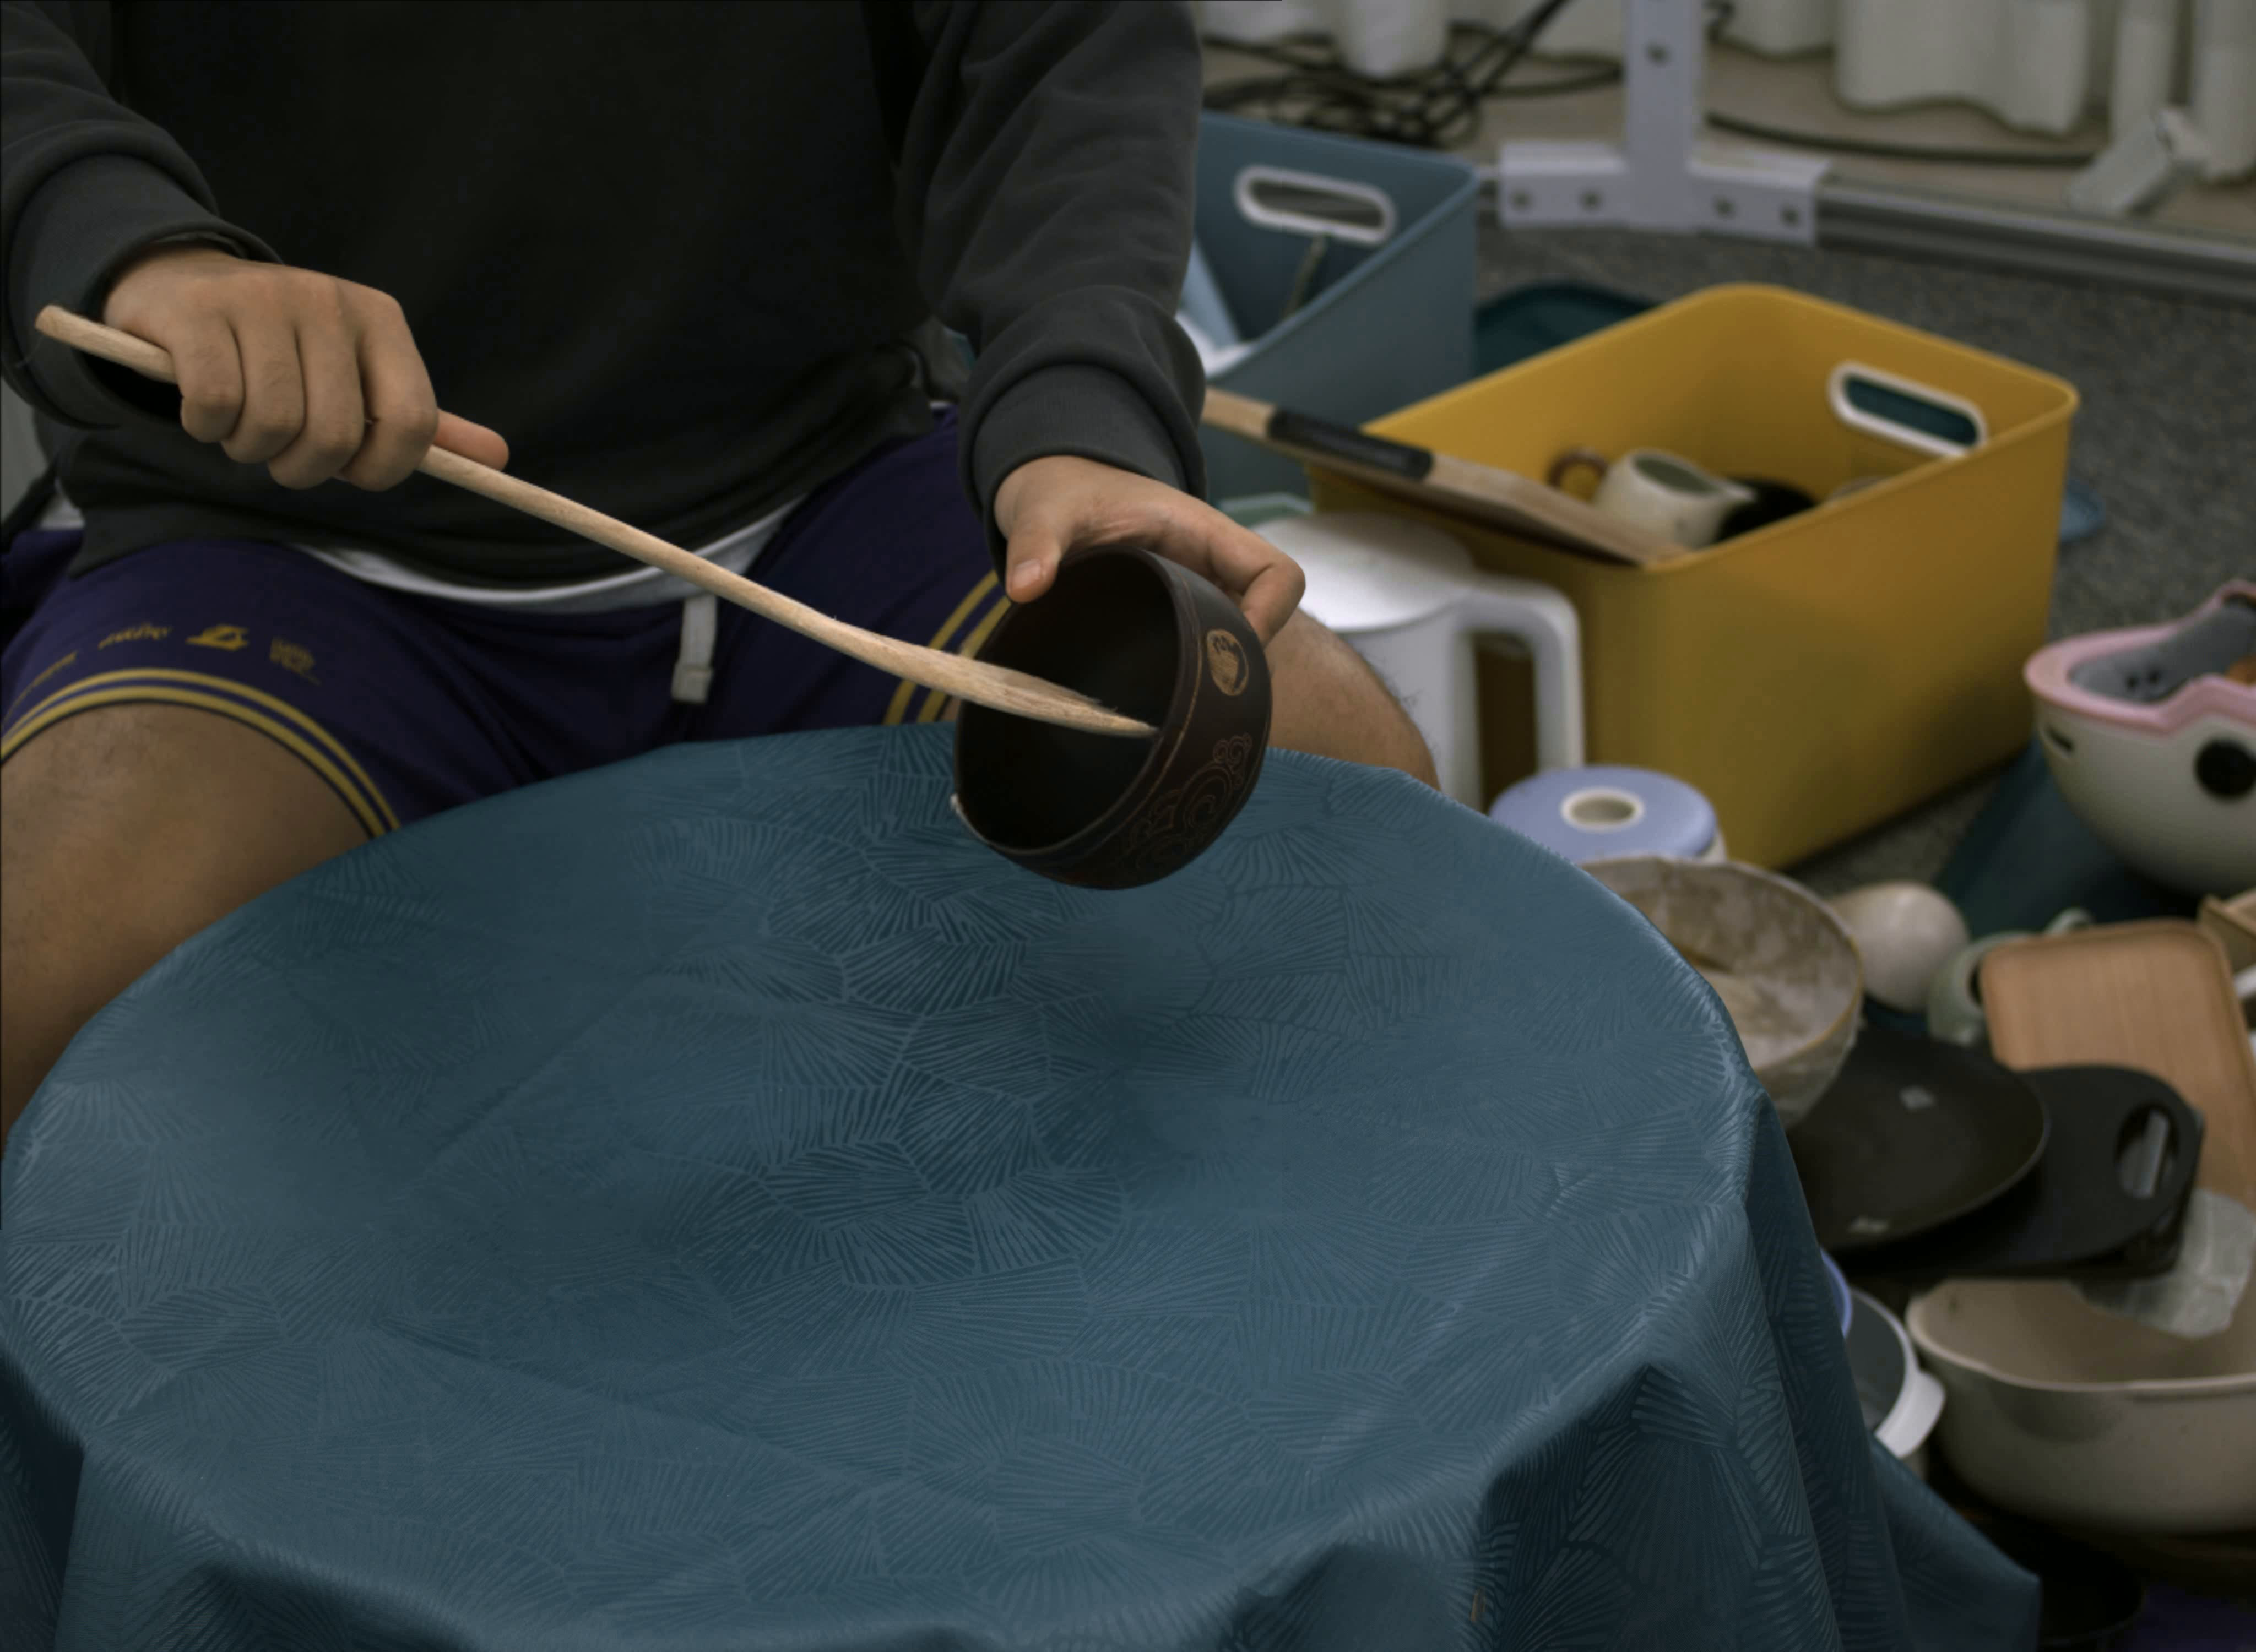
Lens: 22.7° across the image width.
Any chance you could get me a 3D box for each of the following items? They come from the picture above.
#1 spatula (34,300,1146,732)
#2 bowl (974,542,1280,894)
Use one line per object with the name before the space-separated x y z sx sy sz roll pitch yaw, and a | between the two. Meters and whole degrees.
spatula | -0.171 -0.097 1.840 0.389 0.018 0.096 22 1 -19
bowl | 0.008 -0.031 1.919 0.069 0.117 0.119 26 13 -29
